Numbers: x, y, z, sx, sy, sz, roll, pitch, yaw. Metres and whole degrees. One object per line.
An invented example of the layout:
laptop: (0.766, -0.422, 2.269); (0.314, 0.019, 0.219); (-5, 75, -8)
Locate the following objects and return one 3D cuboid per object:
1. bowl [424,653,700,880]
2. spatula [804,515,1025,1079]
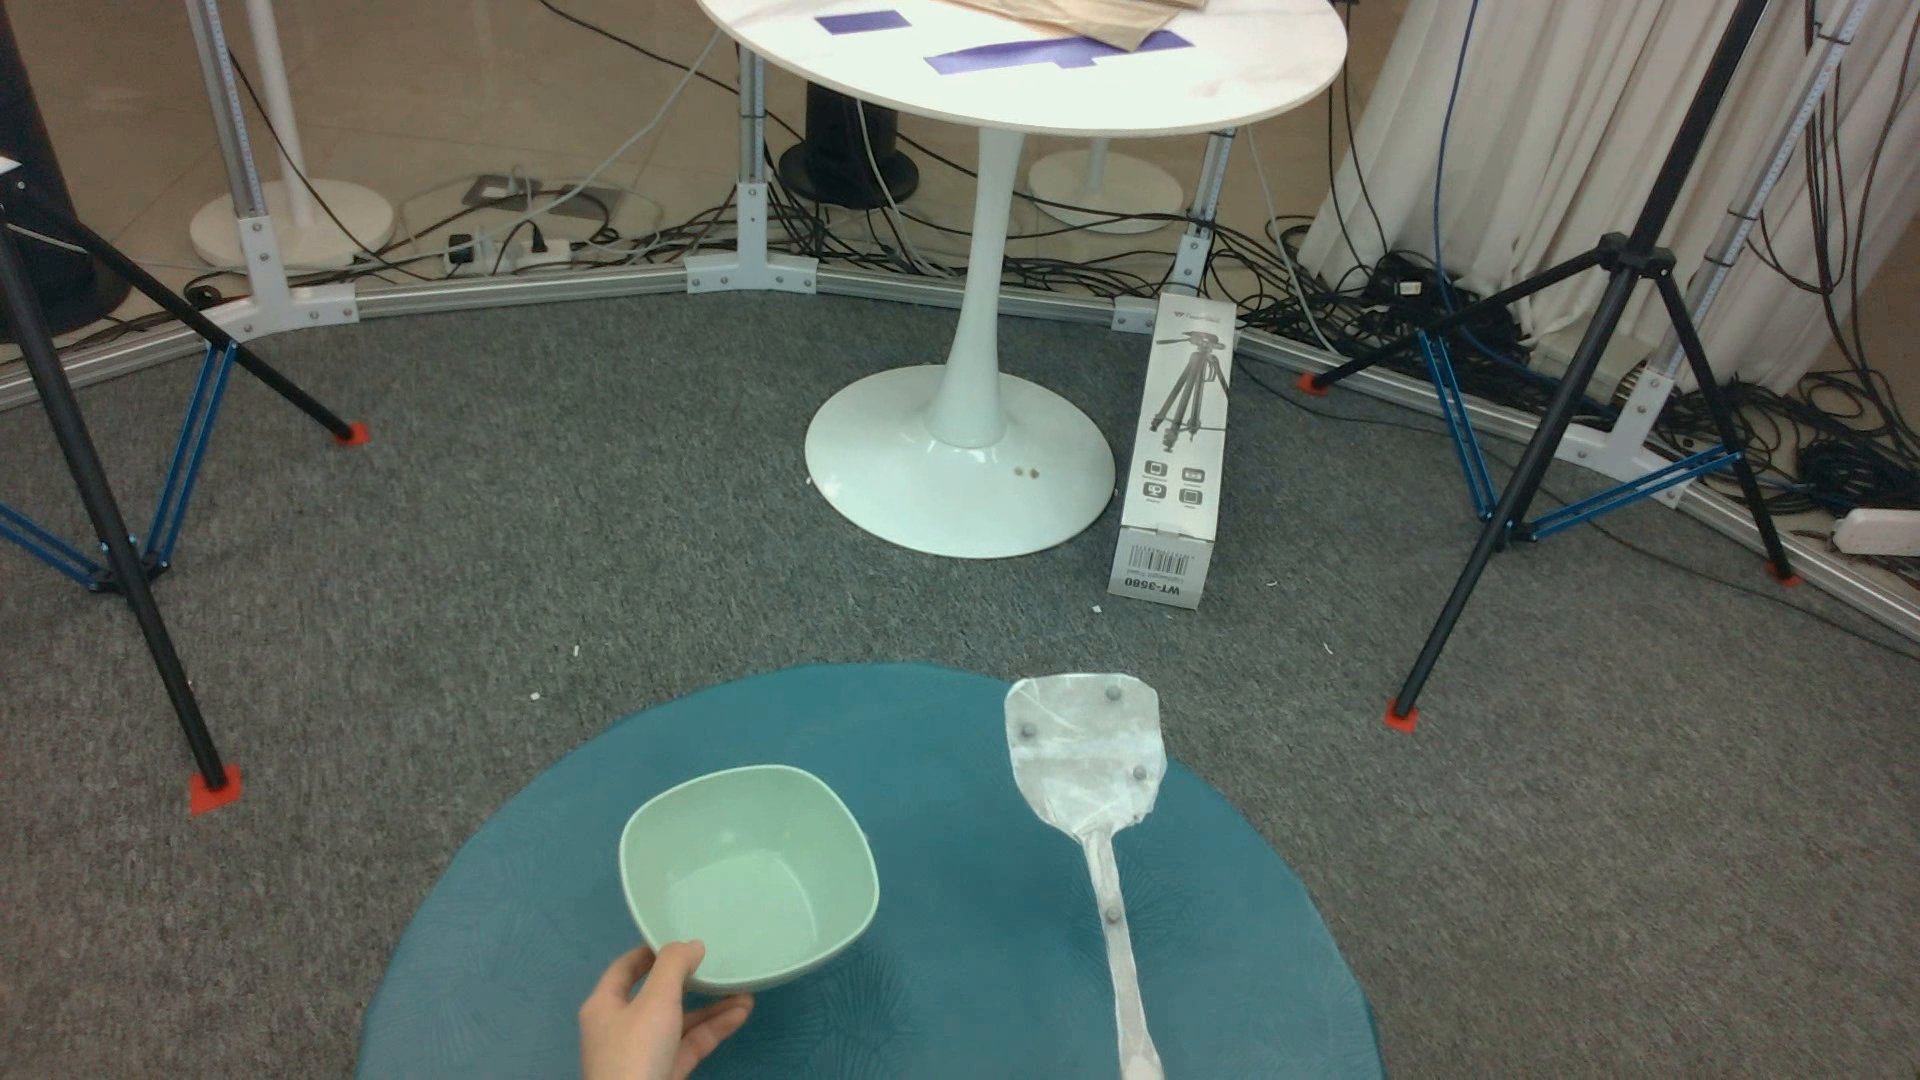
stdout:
bowl: (-0.227, 0.138, 0.787); (0.151, 0.058, 0.152); (9, 41, -8)
spatula: (-0.013, 0.135, 0.769); (0.099, 0.044, 0.366); (-5, 50, -15)
